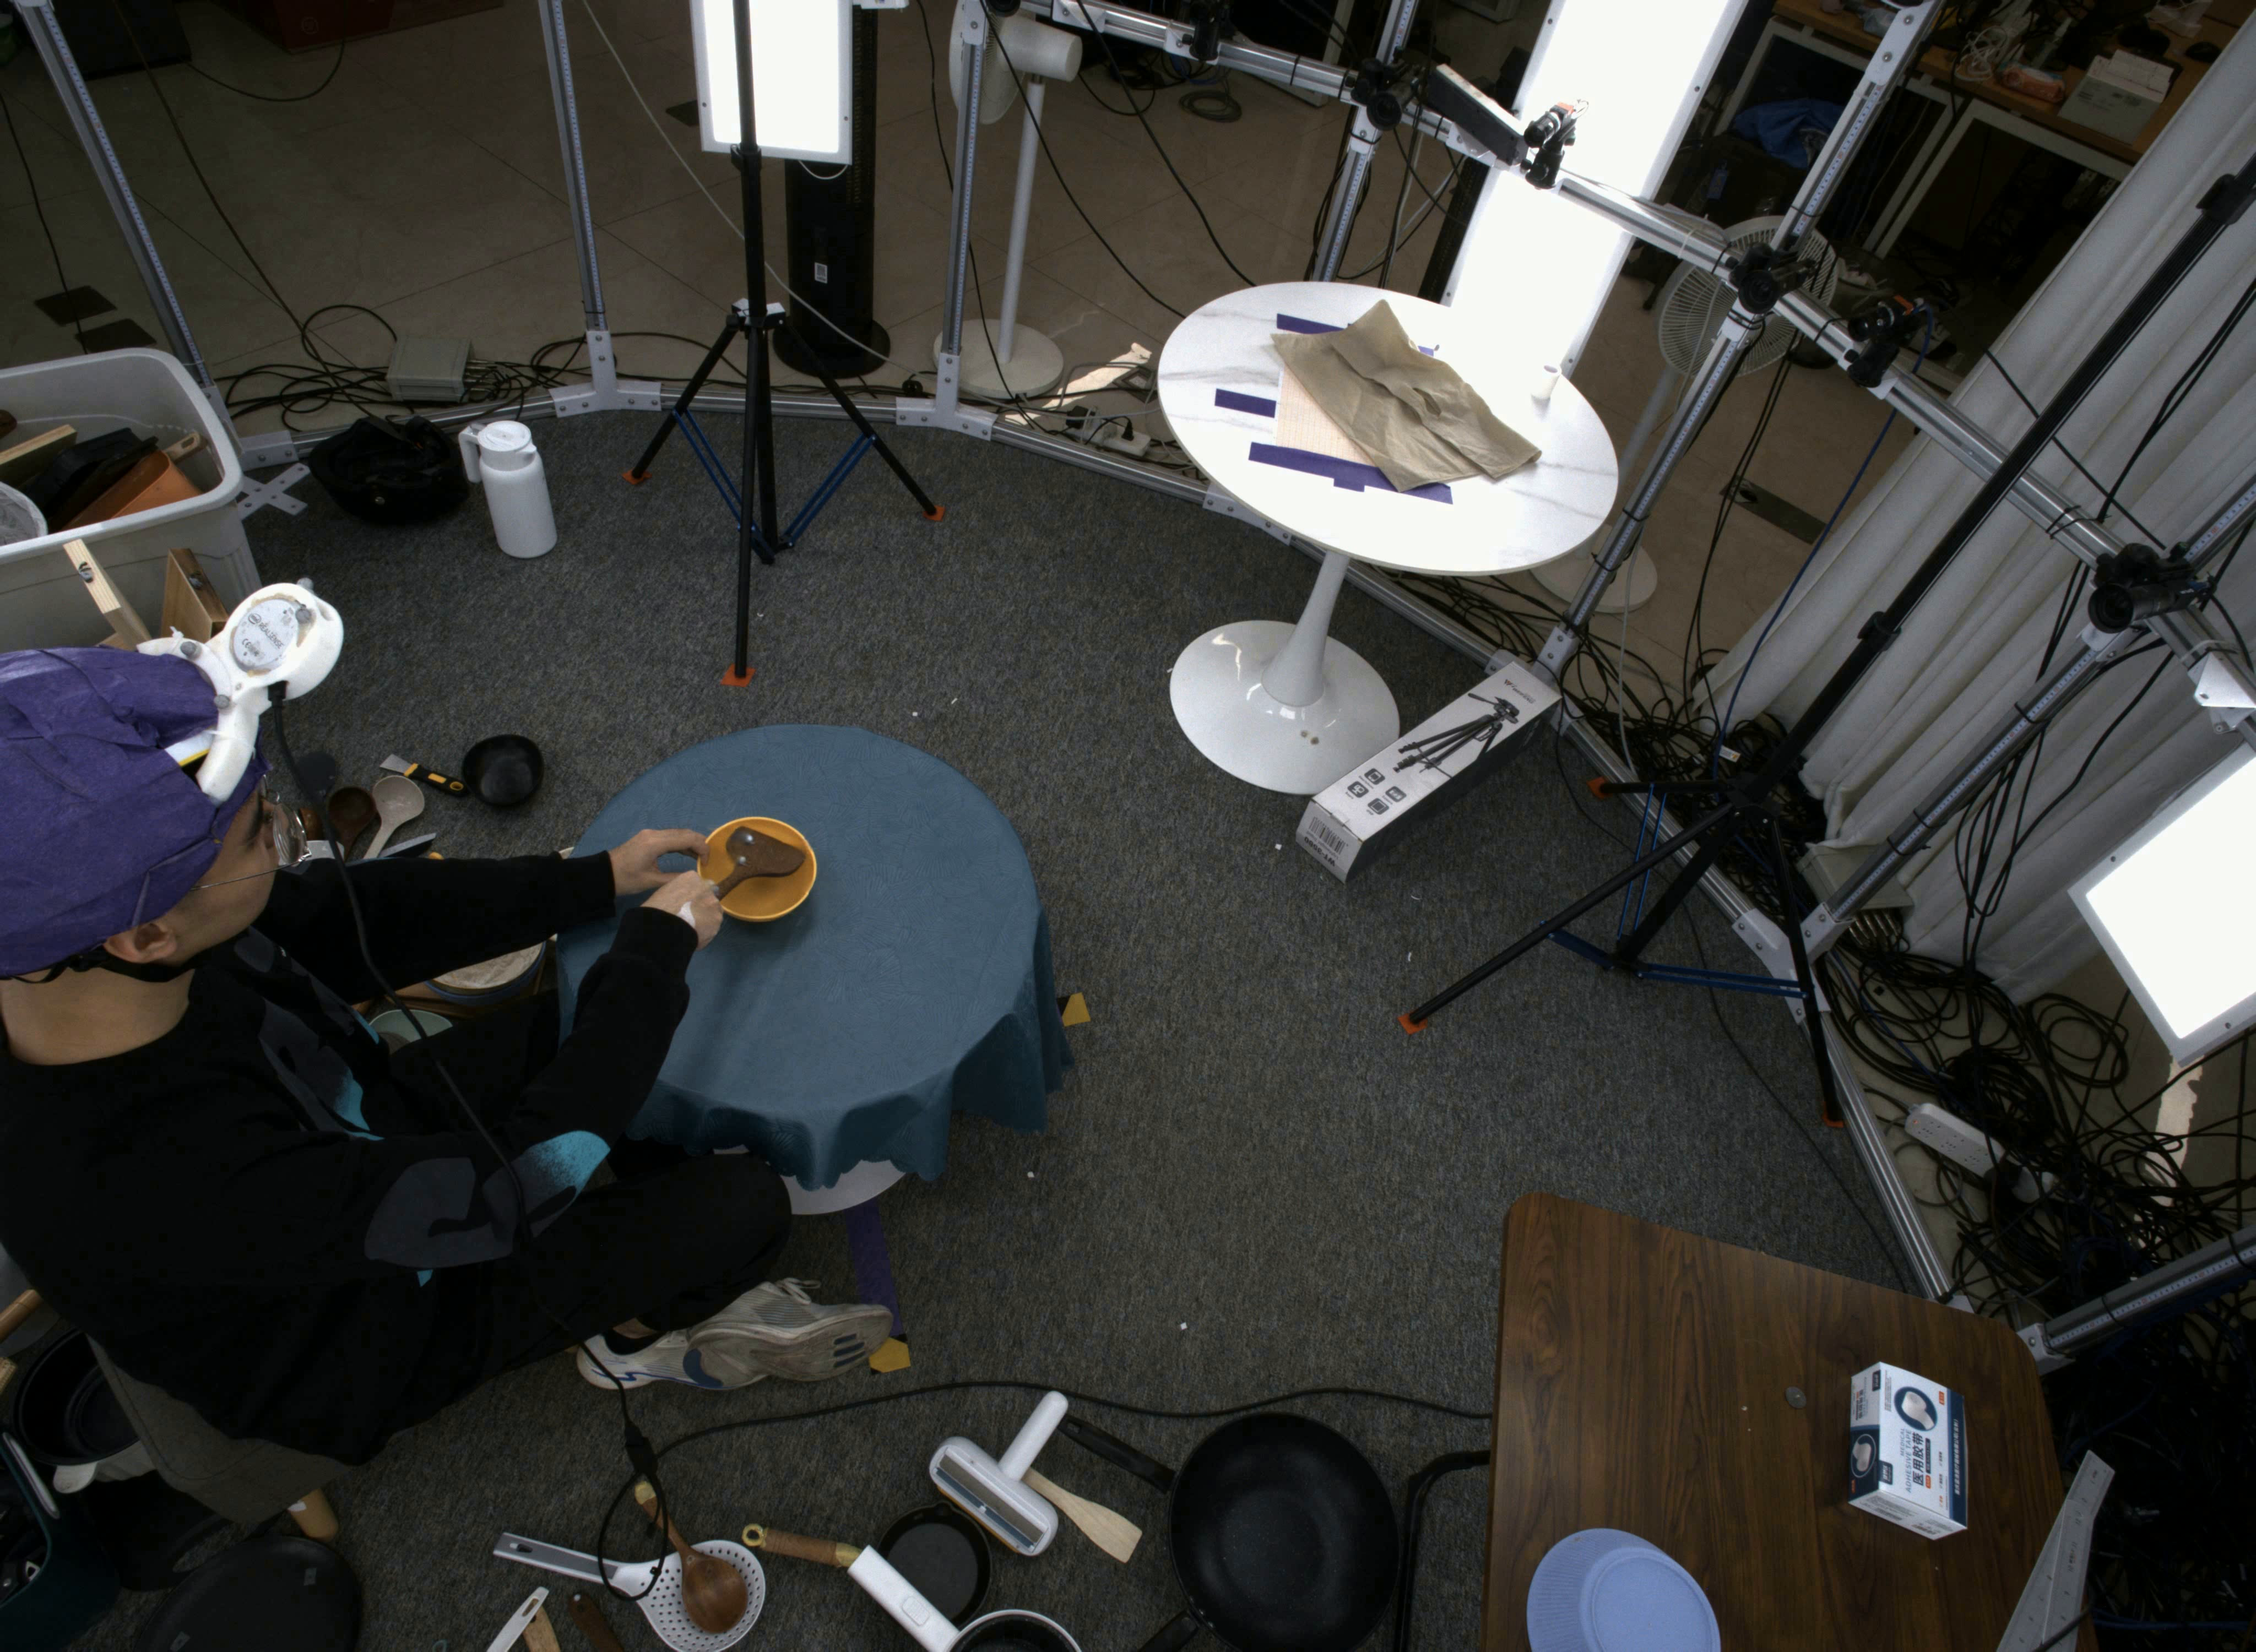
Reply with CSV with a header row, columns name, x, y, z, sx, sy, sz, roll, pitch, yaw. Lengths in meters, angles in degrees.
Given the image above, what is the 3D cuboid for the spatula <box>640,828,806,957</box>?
name,x,y,z,sx,sy,sz,roll,pitch,yaw
spatula,-0.461,0.070,1.457,0.096,0.016,0.382,26,16,-3

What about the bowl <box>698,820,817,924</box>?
name,x,y,z,sx,sy,sz,roll,pitch,yaw
bowl,-0.465,0.066,1.628,0.145,0.061,0.143,9,56,-12
